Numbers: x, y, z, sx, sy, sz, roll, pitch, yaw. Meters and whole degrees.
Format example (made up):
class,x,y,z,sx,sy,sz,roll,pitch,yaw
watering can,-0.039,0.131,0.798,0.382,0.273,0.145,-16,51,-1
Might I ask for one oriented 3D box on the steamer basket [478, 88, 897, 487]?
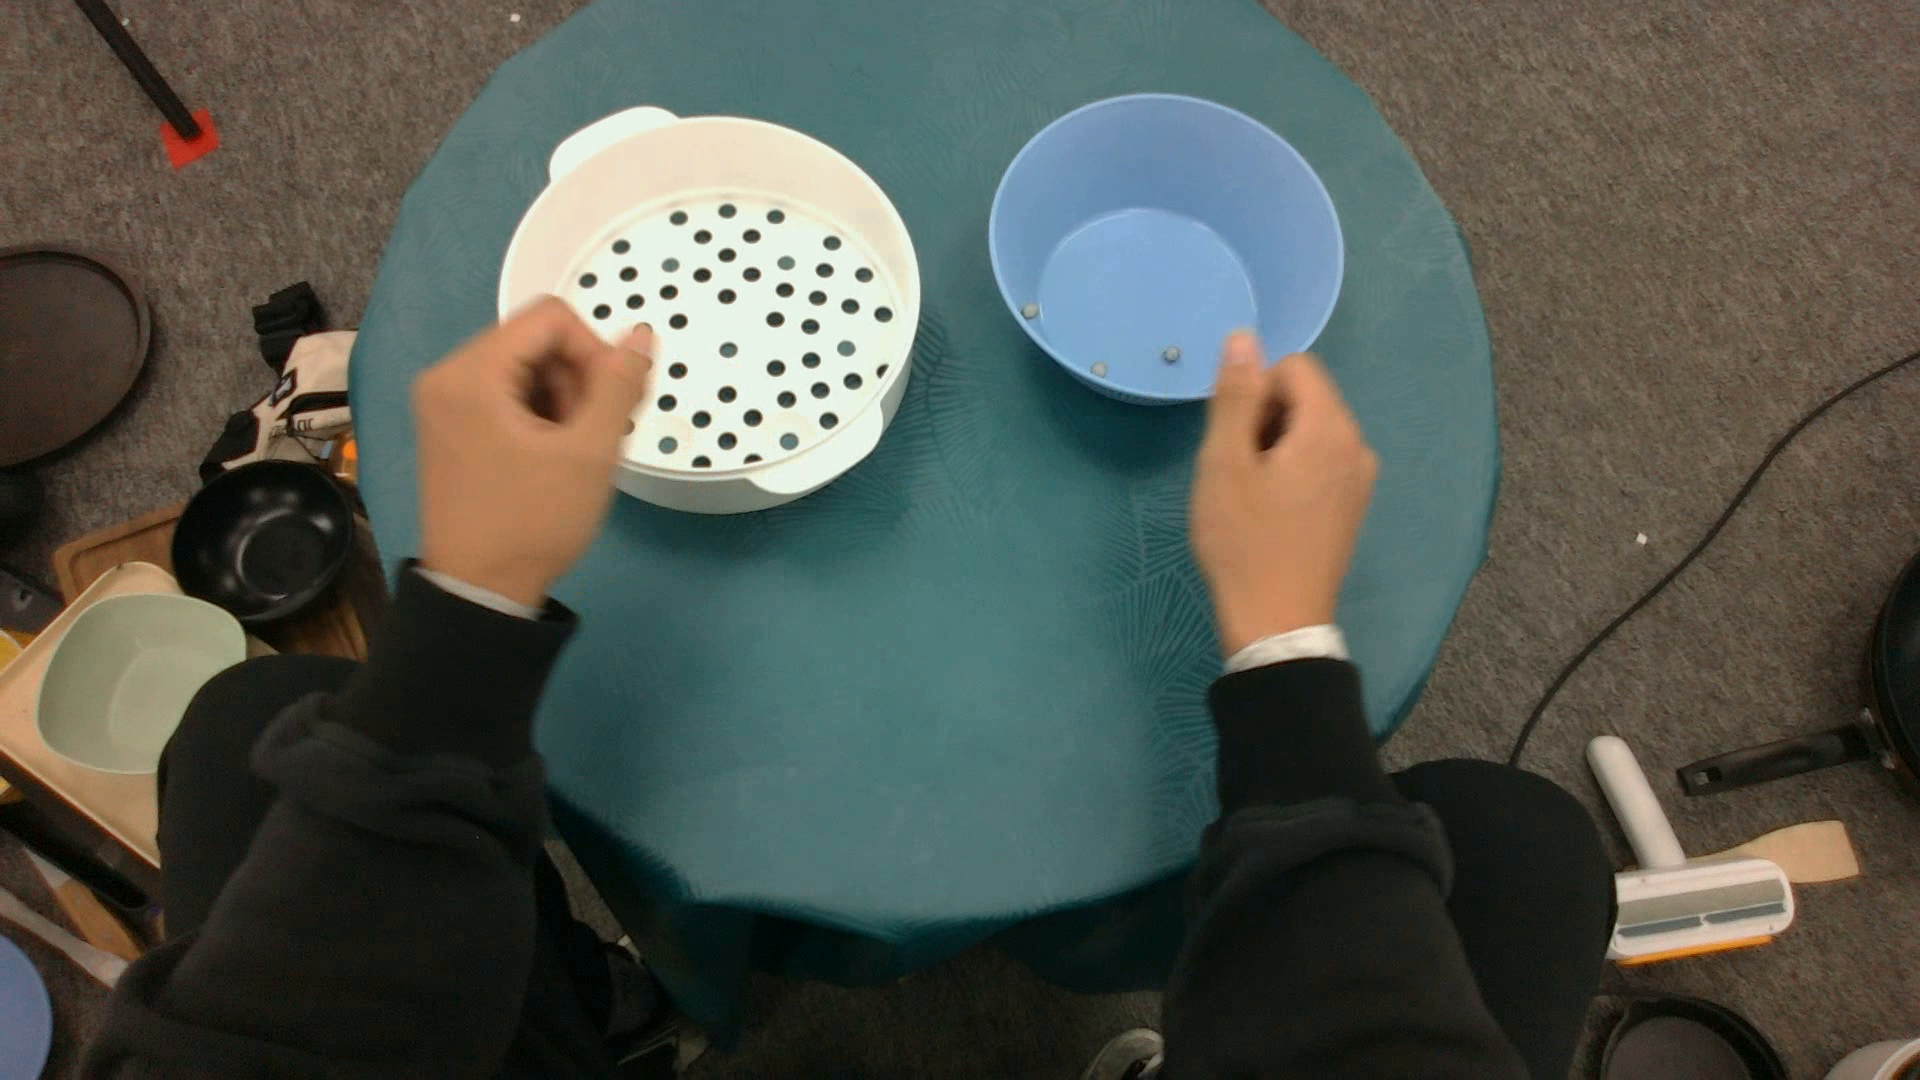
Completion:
class,x,y,z,sx,sy,sz,roll,pitch,yaw
steamer basket,-0.132,-0.124,0.692,0.202,0.069,0.231,-31,72,-14

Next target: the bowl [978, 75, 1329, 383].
class,x,y,z,sx,sy,sz,roll,pitch,yaw
bowl,0.096,-0.148,0.713,0.176,0.070,0.176,1,70,-2
